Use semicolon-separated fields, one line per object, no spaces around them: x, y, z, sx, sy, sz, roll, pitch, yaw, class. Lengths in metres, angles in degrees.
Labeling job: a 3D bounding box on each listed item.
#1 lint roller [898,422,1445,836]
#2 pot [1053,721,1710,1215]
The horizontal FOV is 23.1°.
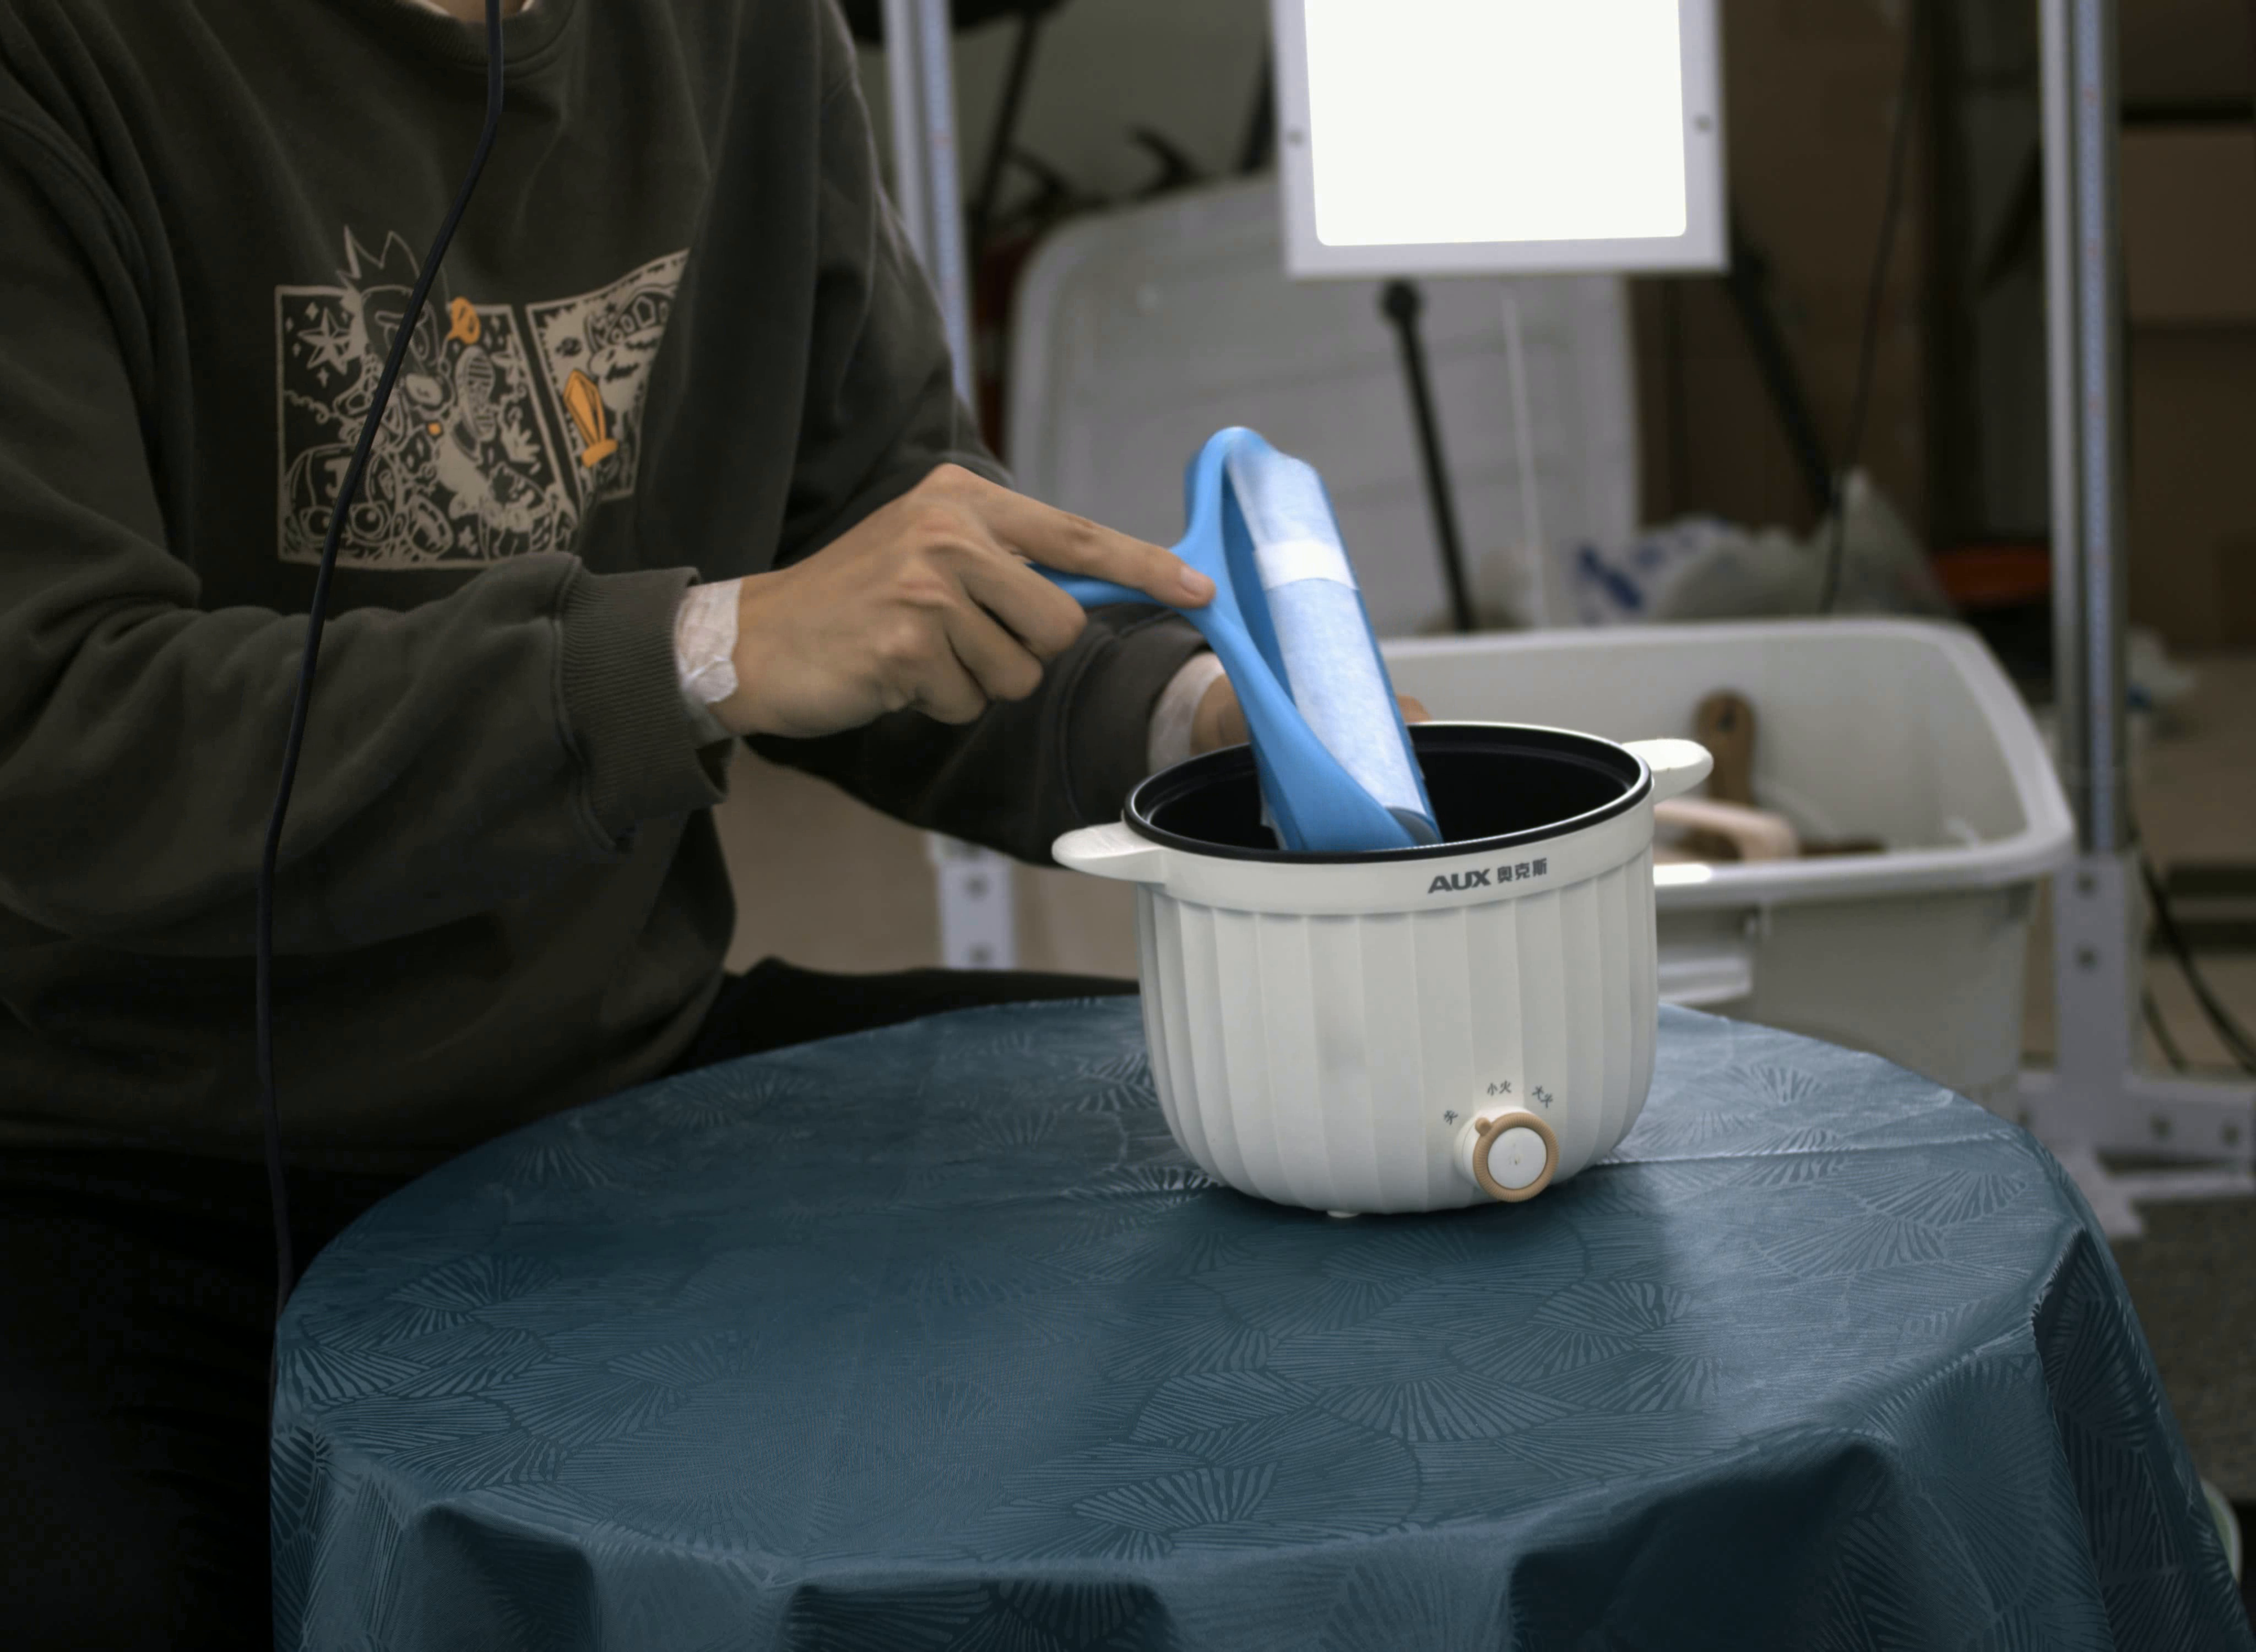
0.015;-0.062;1.883;0.177;0.069;0.229;11;40;-25;lint roller
0.096;0.050;1.880;0.237;0.143;0.193;-10;12;-16;pot
